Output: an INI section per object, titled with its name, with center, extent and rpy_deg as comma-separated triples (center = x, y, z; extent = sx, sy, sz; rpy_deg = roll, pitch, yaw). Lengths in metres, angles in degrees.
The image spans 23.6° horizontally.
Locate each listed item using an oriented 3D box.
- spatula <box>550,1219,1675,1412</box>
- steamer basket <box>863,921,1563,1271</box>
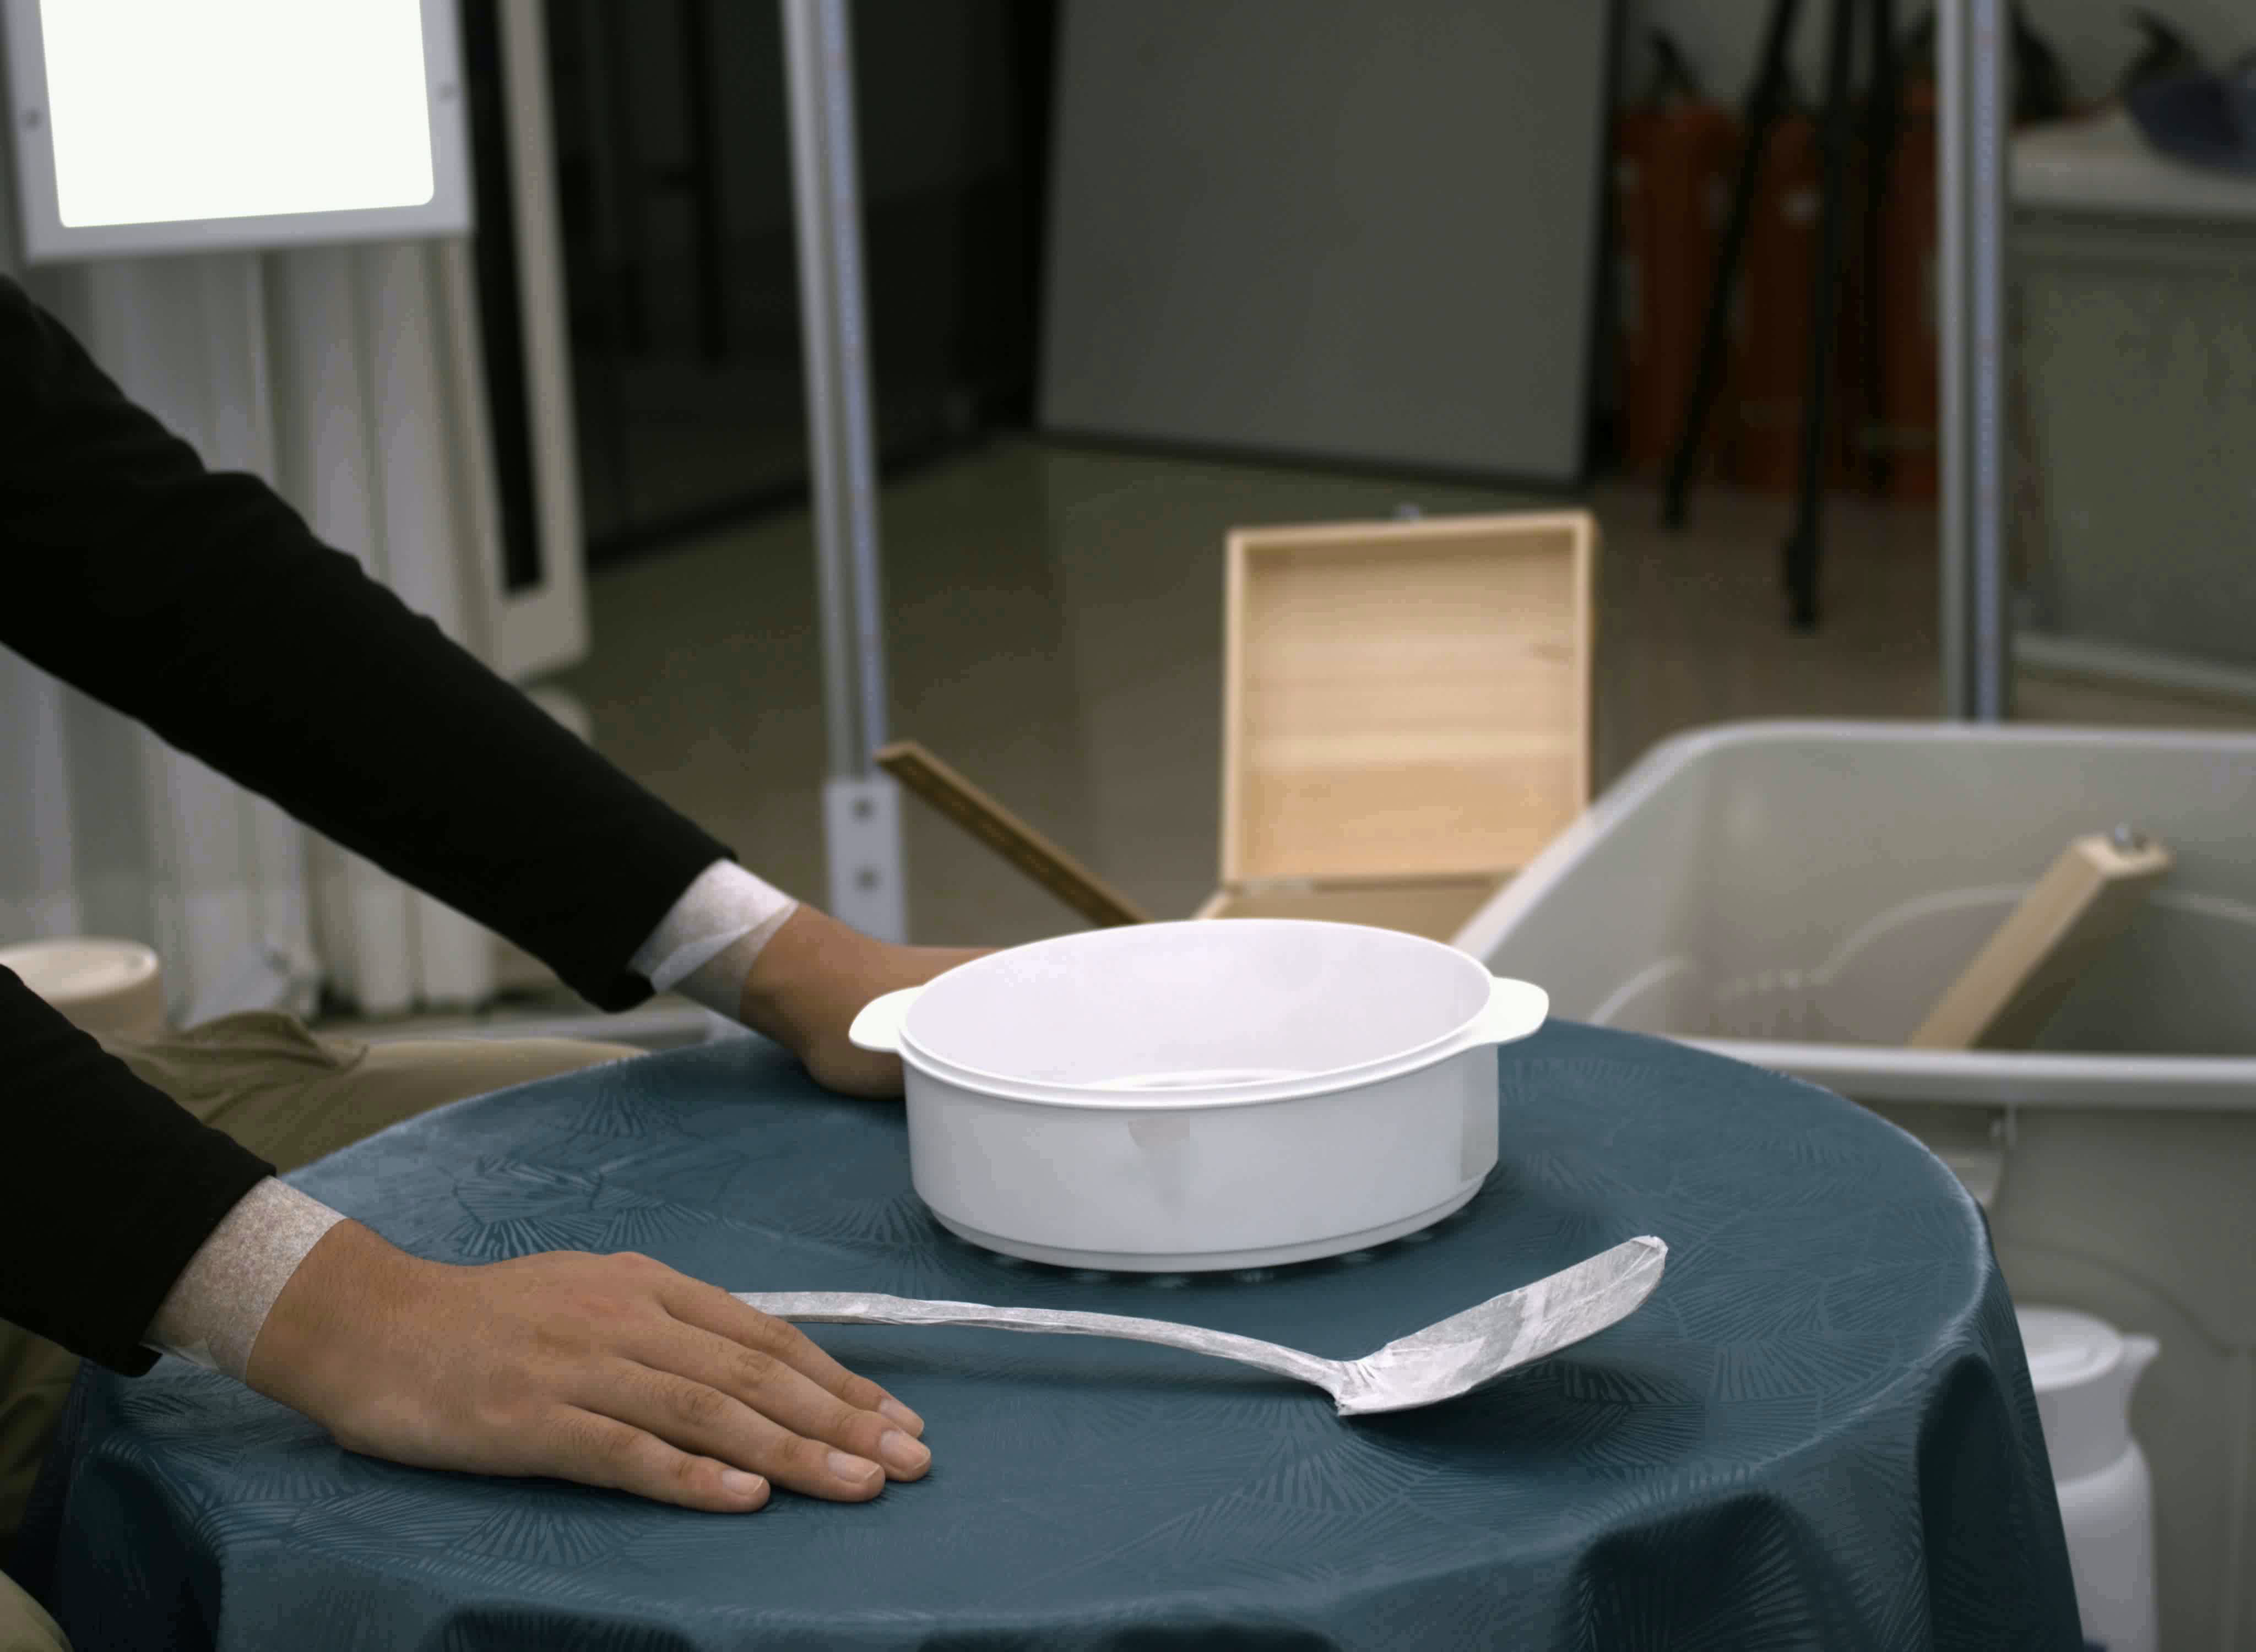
[spatula]
center = -0.015, 0.144, 1.603
extent = 0.364, 0.045, 0.098
rpy_deg = 1, 17, 21
[steamer basket]
center = 0.029, 0.087, 1.752
extent = 0.229, 0.070, 0.201
rpy_deg = -2, 13, 12
